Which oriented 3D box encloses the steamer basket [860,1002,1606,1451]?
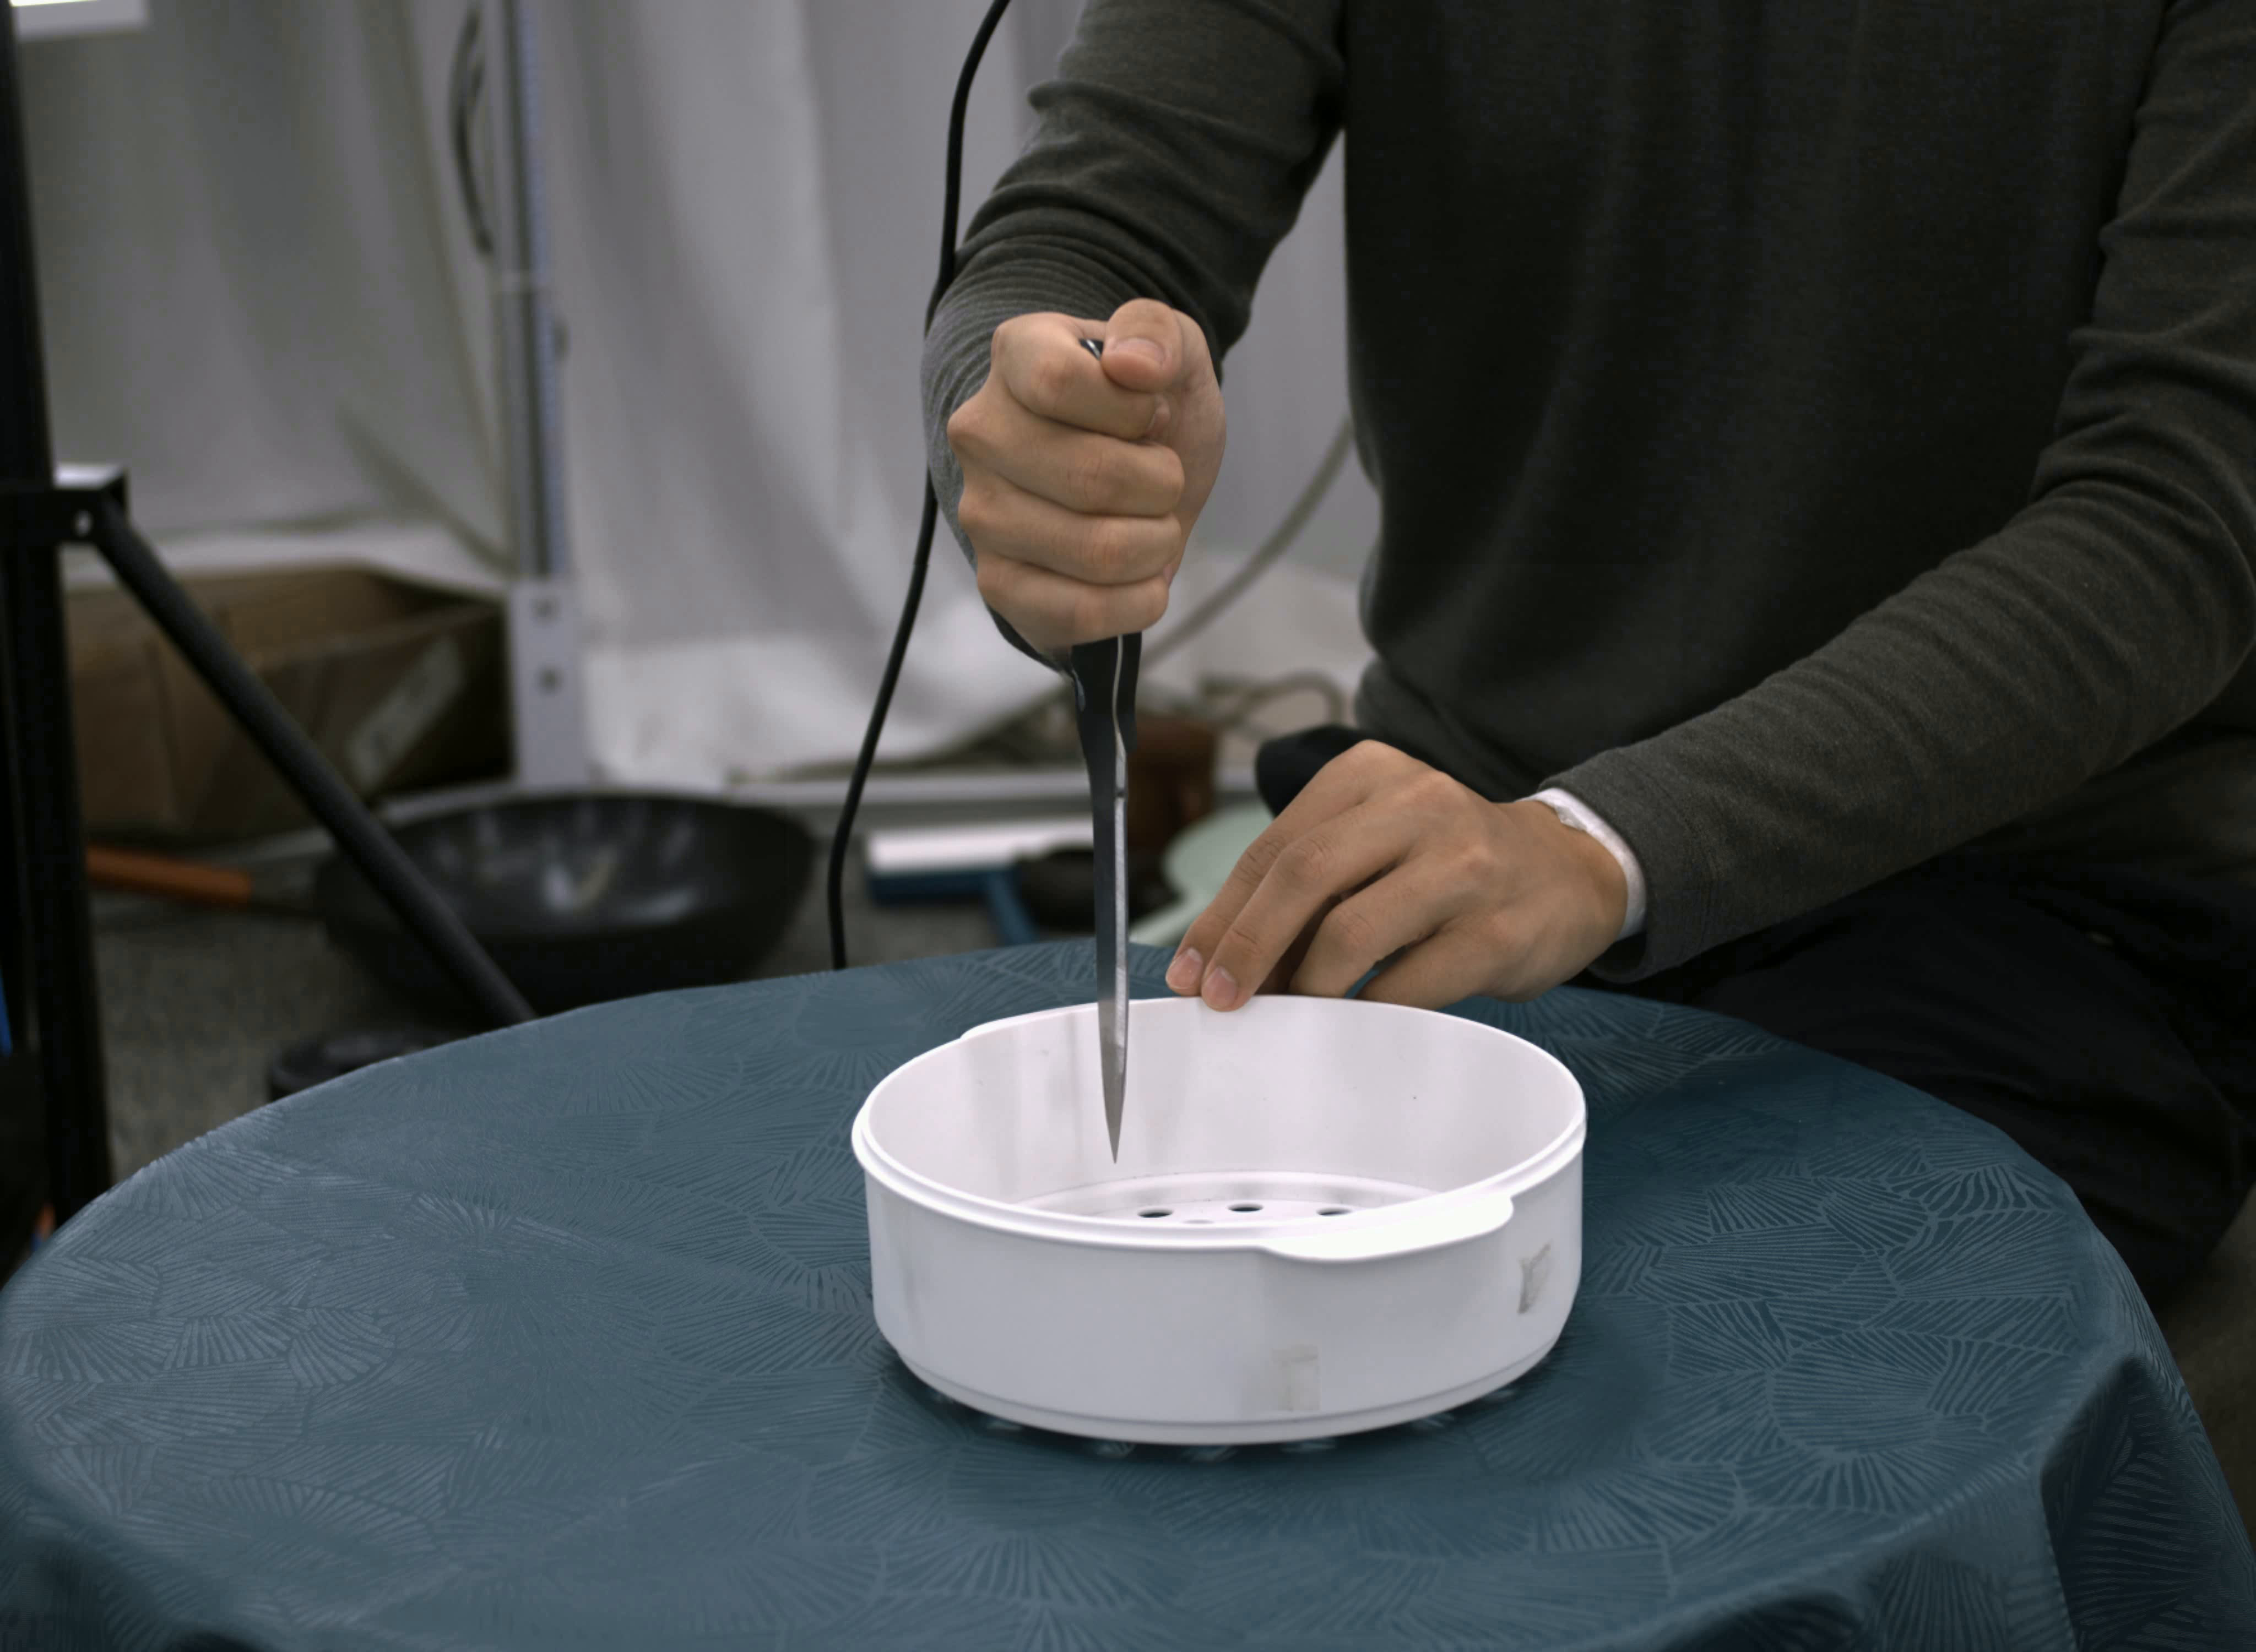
[{"bbox_3d":[0.029,0.107,1.434,0.198,0.069,0.235,-8,16,-22],"label":"steamer basket"}]

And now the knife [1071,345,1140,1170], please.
[{"bbox_3d":[-0.005,-0.017,1.467,0.016,0.238,0.025,-7,19,-16],"label":"knife"}]
